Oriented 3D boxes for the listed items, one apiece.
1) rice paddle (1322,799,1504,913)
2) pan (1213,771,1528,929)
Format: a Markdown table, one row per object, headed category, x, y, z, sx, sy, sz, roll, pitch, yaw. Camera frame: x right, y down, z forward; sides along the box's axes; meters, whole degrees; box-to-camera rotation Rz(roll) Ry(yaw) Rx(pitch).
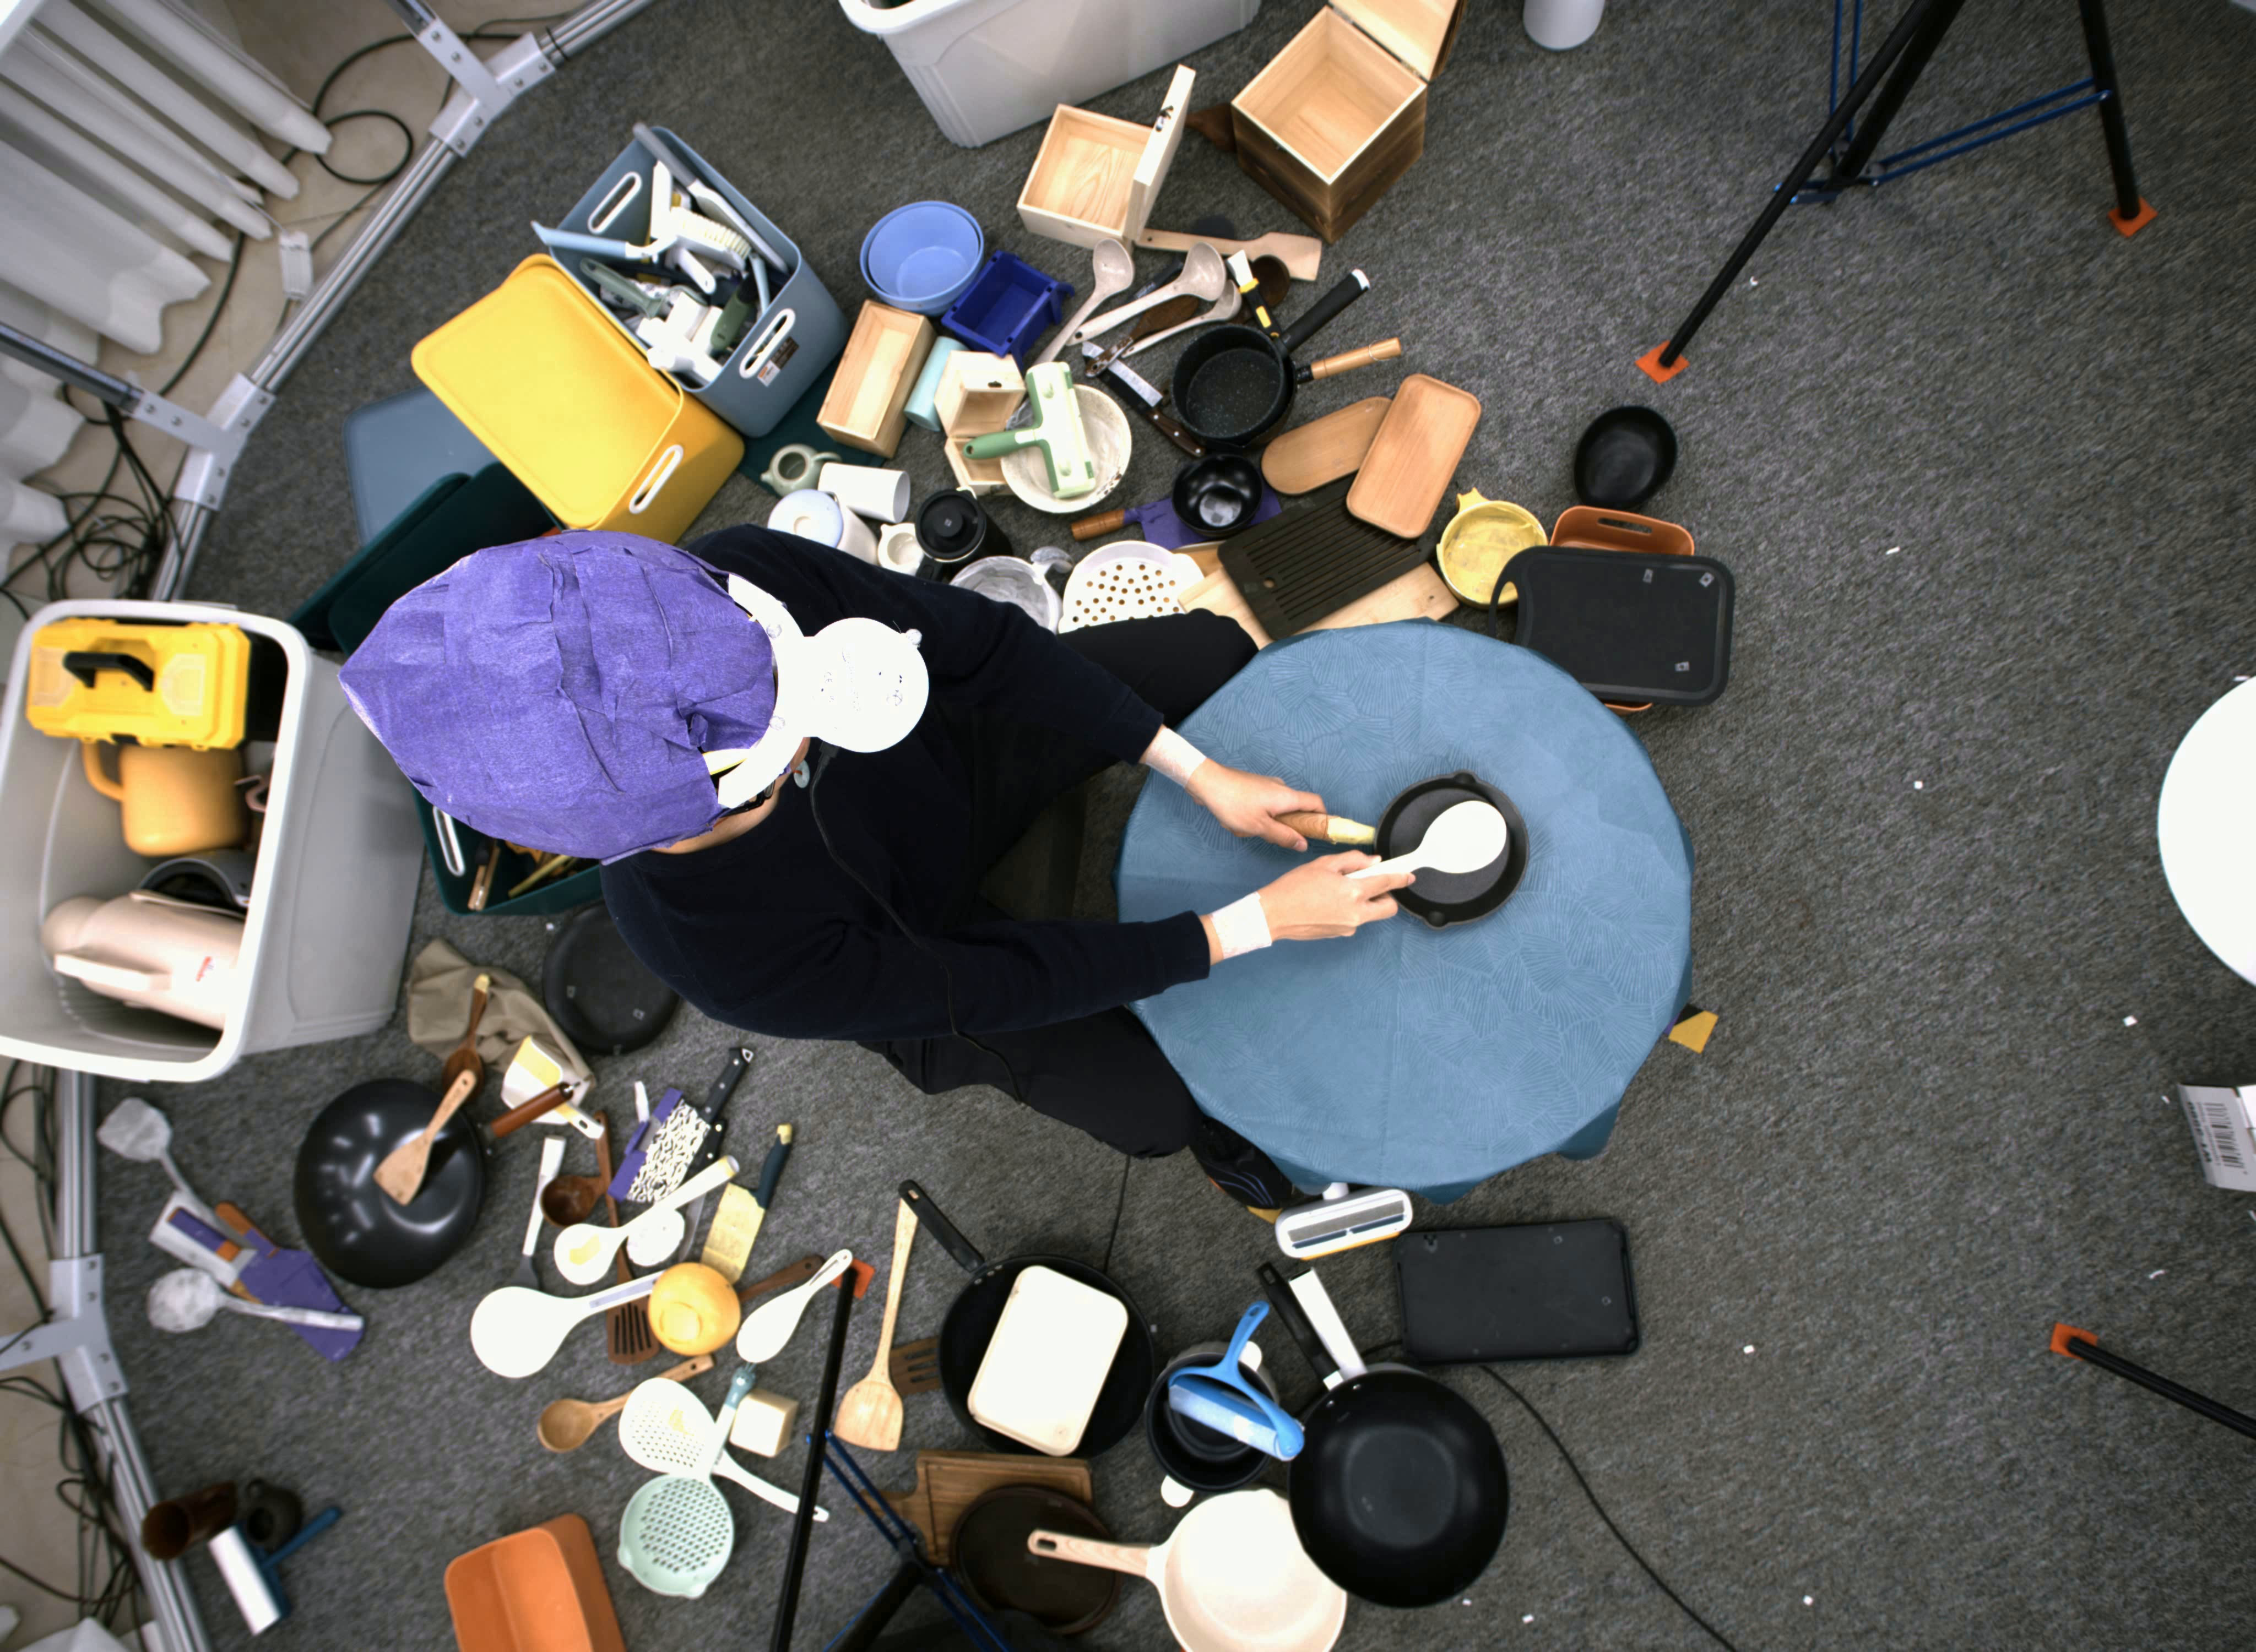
| category | x | y | z | sx | sy | sz | roll | pitch | yaw |
| --- | --- | --- | --- | --- | --- | --- | --- | --- | --- |
| rice paddle | 0.293 | 0.030 | 1.396 | 0.204 | 0.029 | 0.069 | -24 | 93 | -7 |
| pan | 0.248 | 0.005 | 1.423 | 0.324 | 0.049 | 0.171 | 12 | 105 | 7 |
